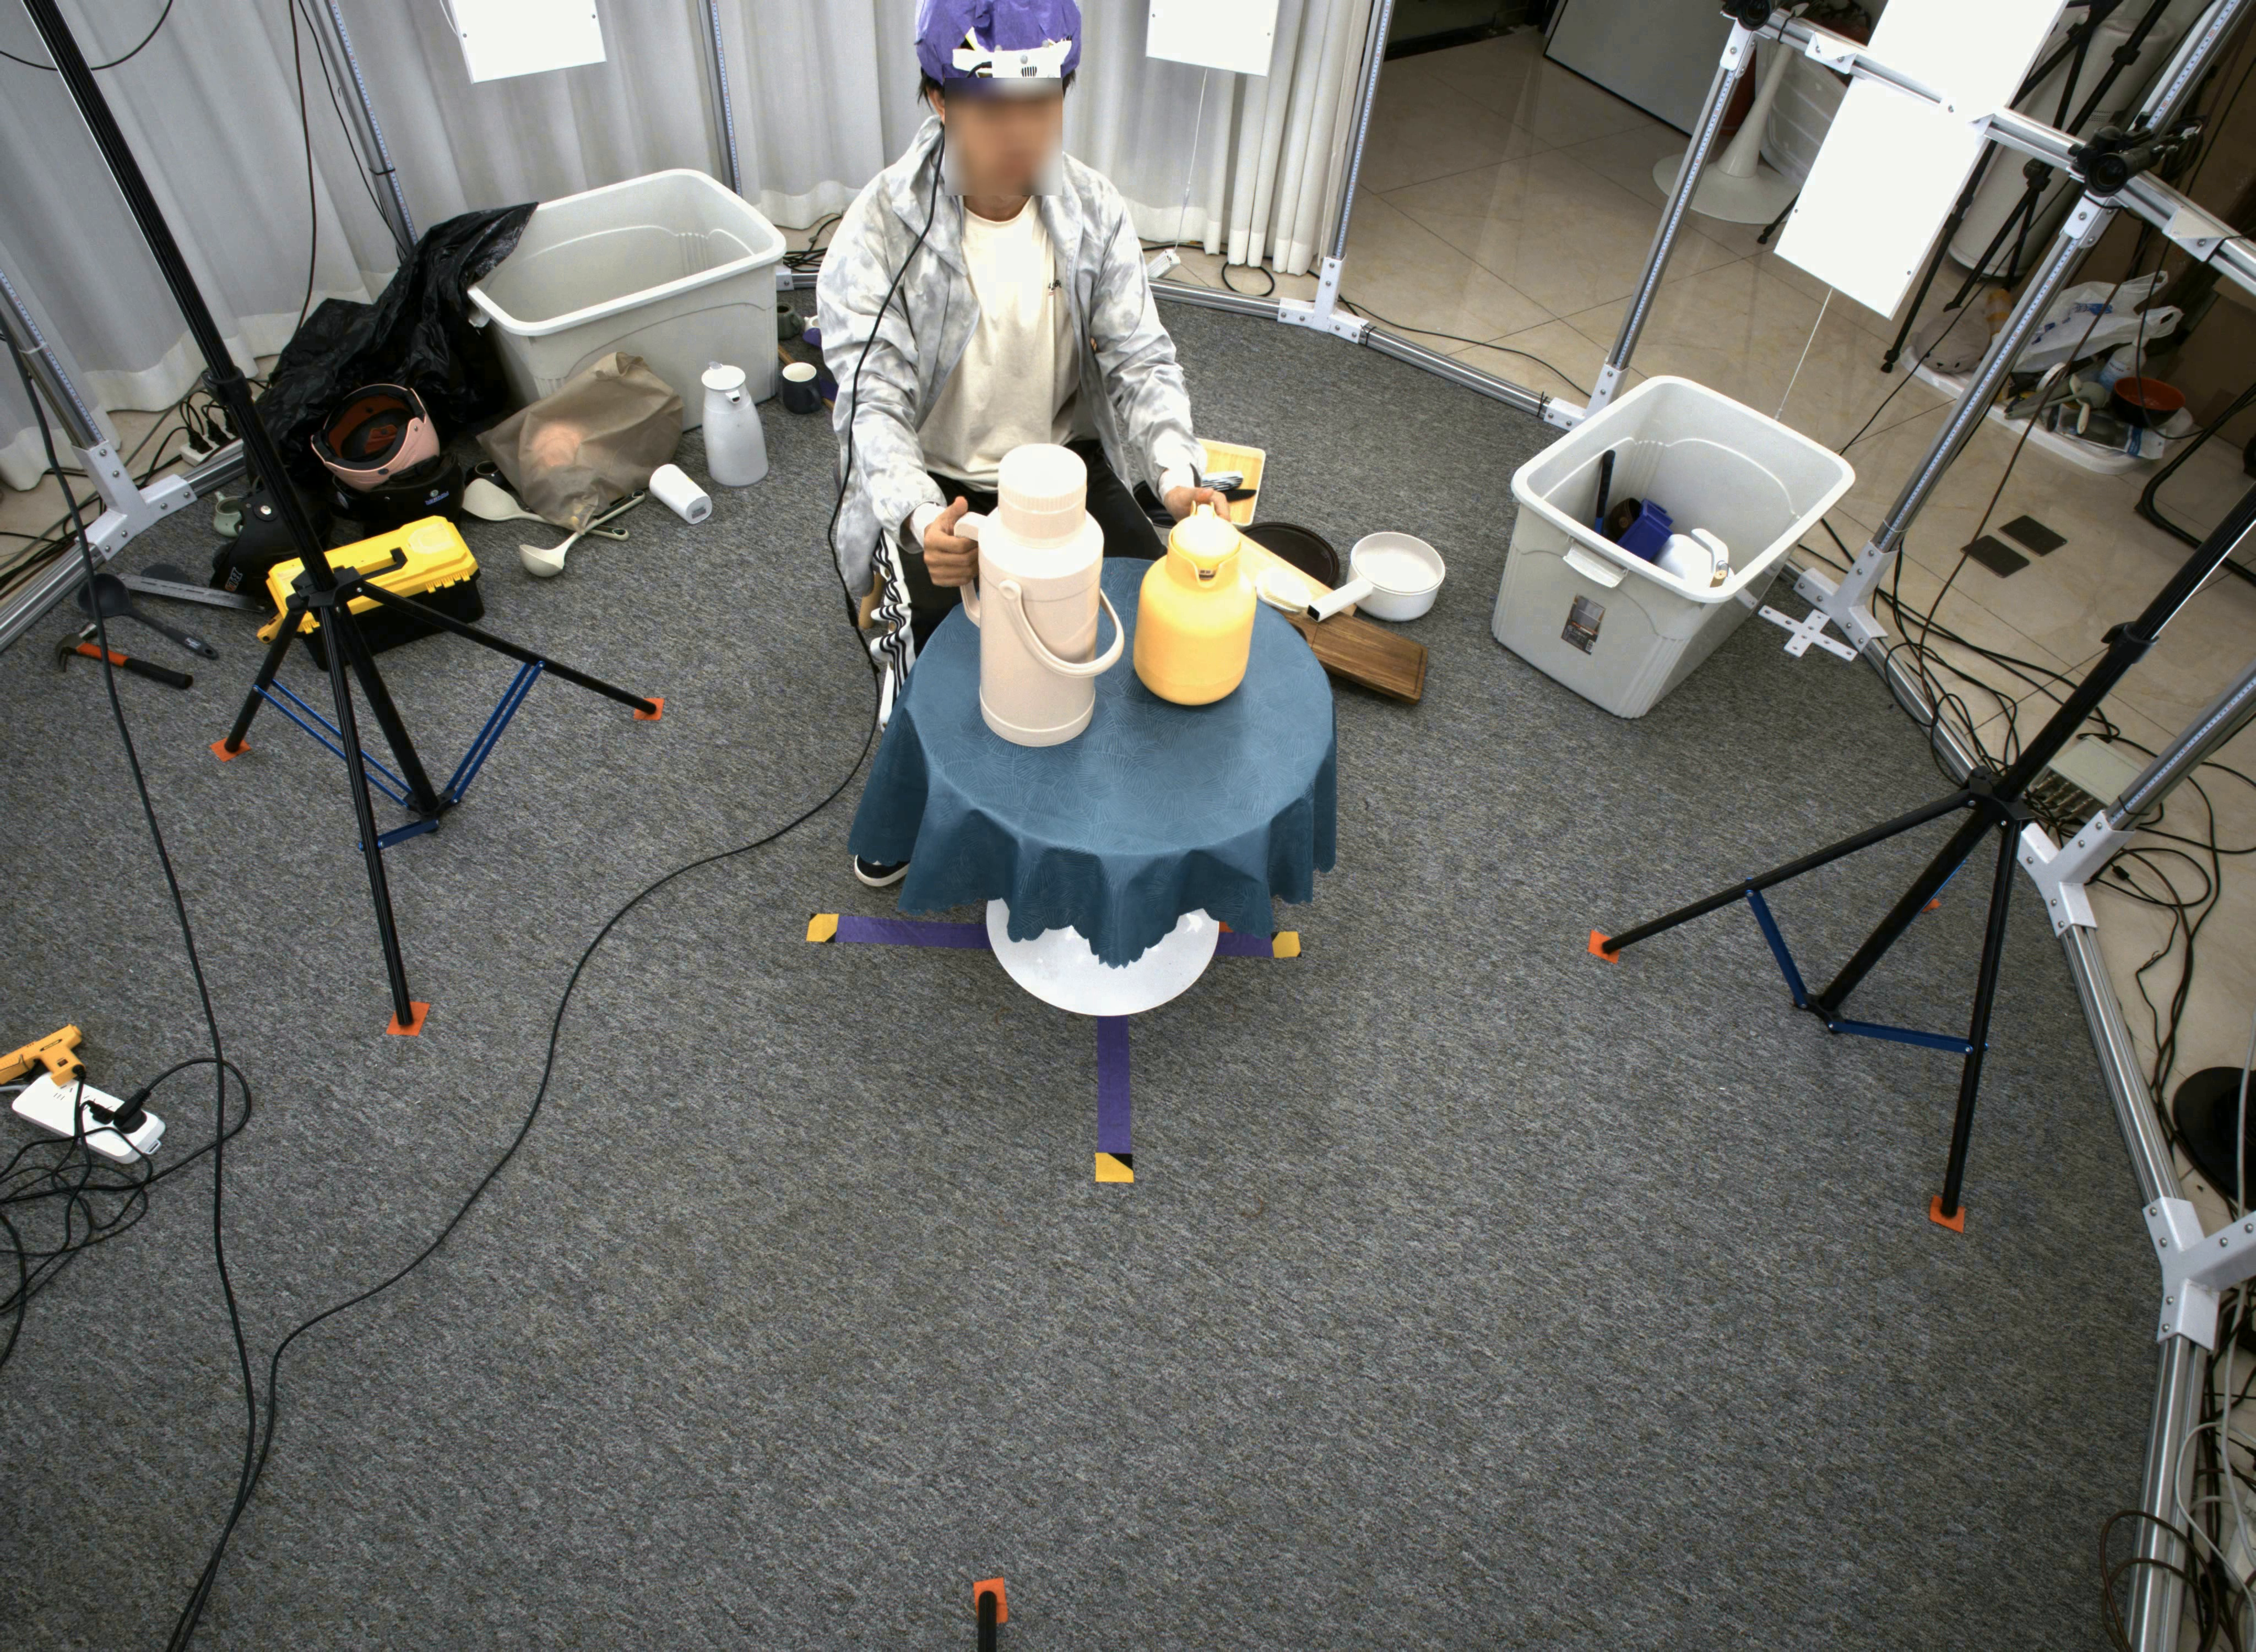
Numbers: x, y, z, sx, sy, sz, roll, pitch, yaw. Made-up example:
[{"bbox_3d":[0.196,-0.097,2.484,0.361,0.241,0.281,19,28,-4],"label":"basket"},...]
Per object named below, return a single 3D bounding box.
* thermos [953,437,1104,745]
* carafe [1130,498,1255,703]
[{"bbox_3d":[-0.127,-0.302,1.658,0.208,0.396,0.178,21,52,13],"label":"thermos"},{"bbox_3d":[0.094,-0.318,1.775,0.163,0.254,0.207,6,50,-3],"label":"carafe"}]
